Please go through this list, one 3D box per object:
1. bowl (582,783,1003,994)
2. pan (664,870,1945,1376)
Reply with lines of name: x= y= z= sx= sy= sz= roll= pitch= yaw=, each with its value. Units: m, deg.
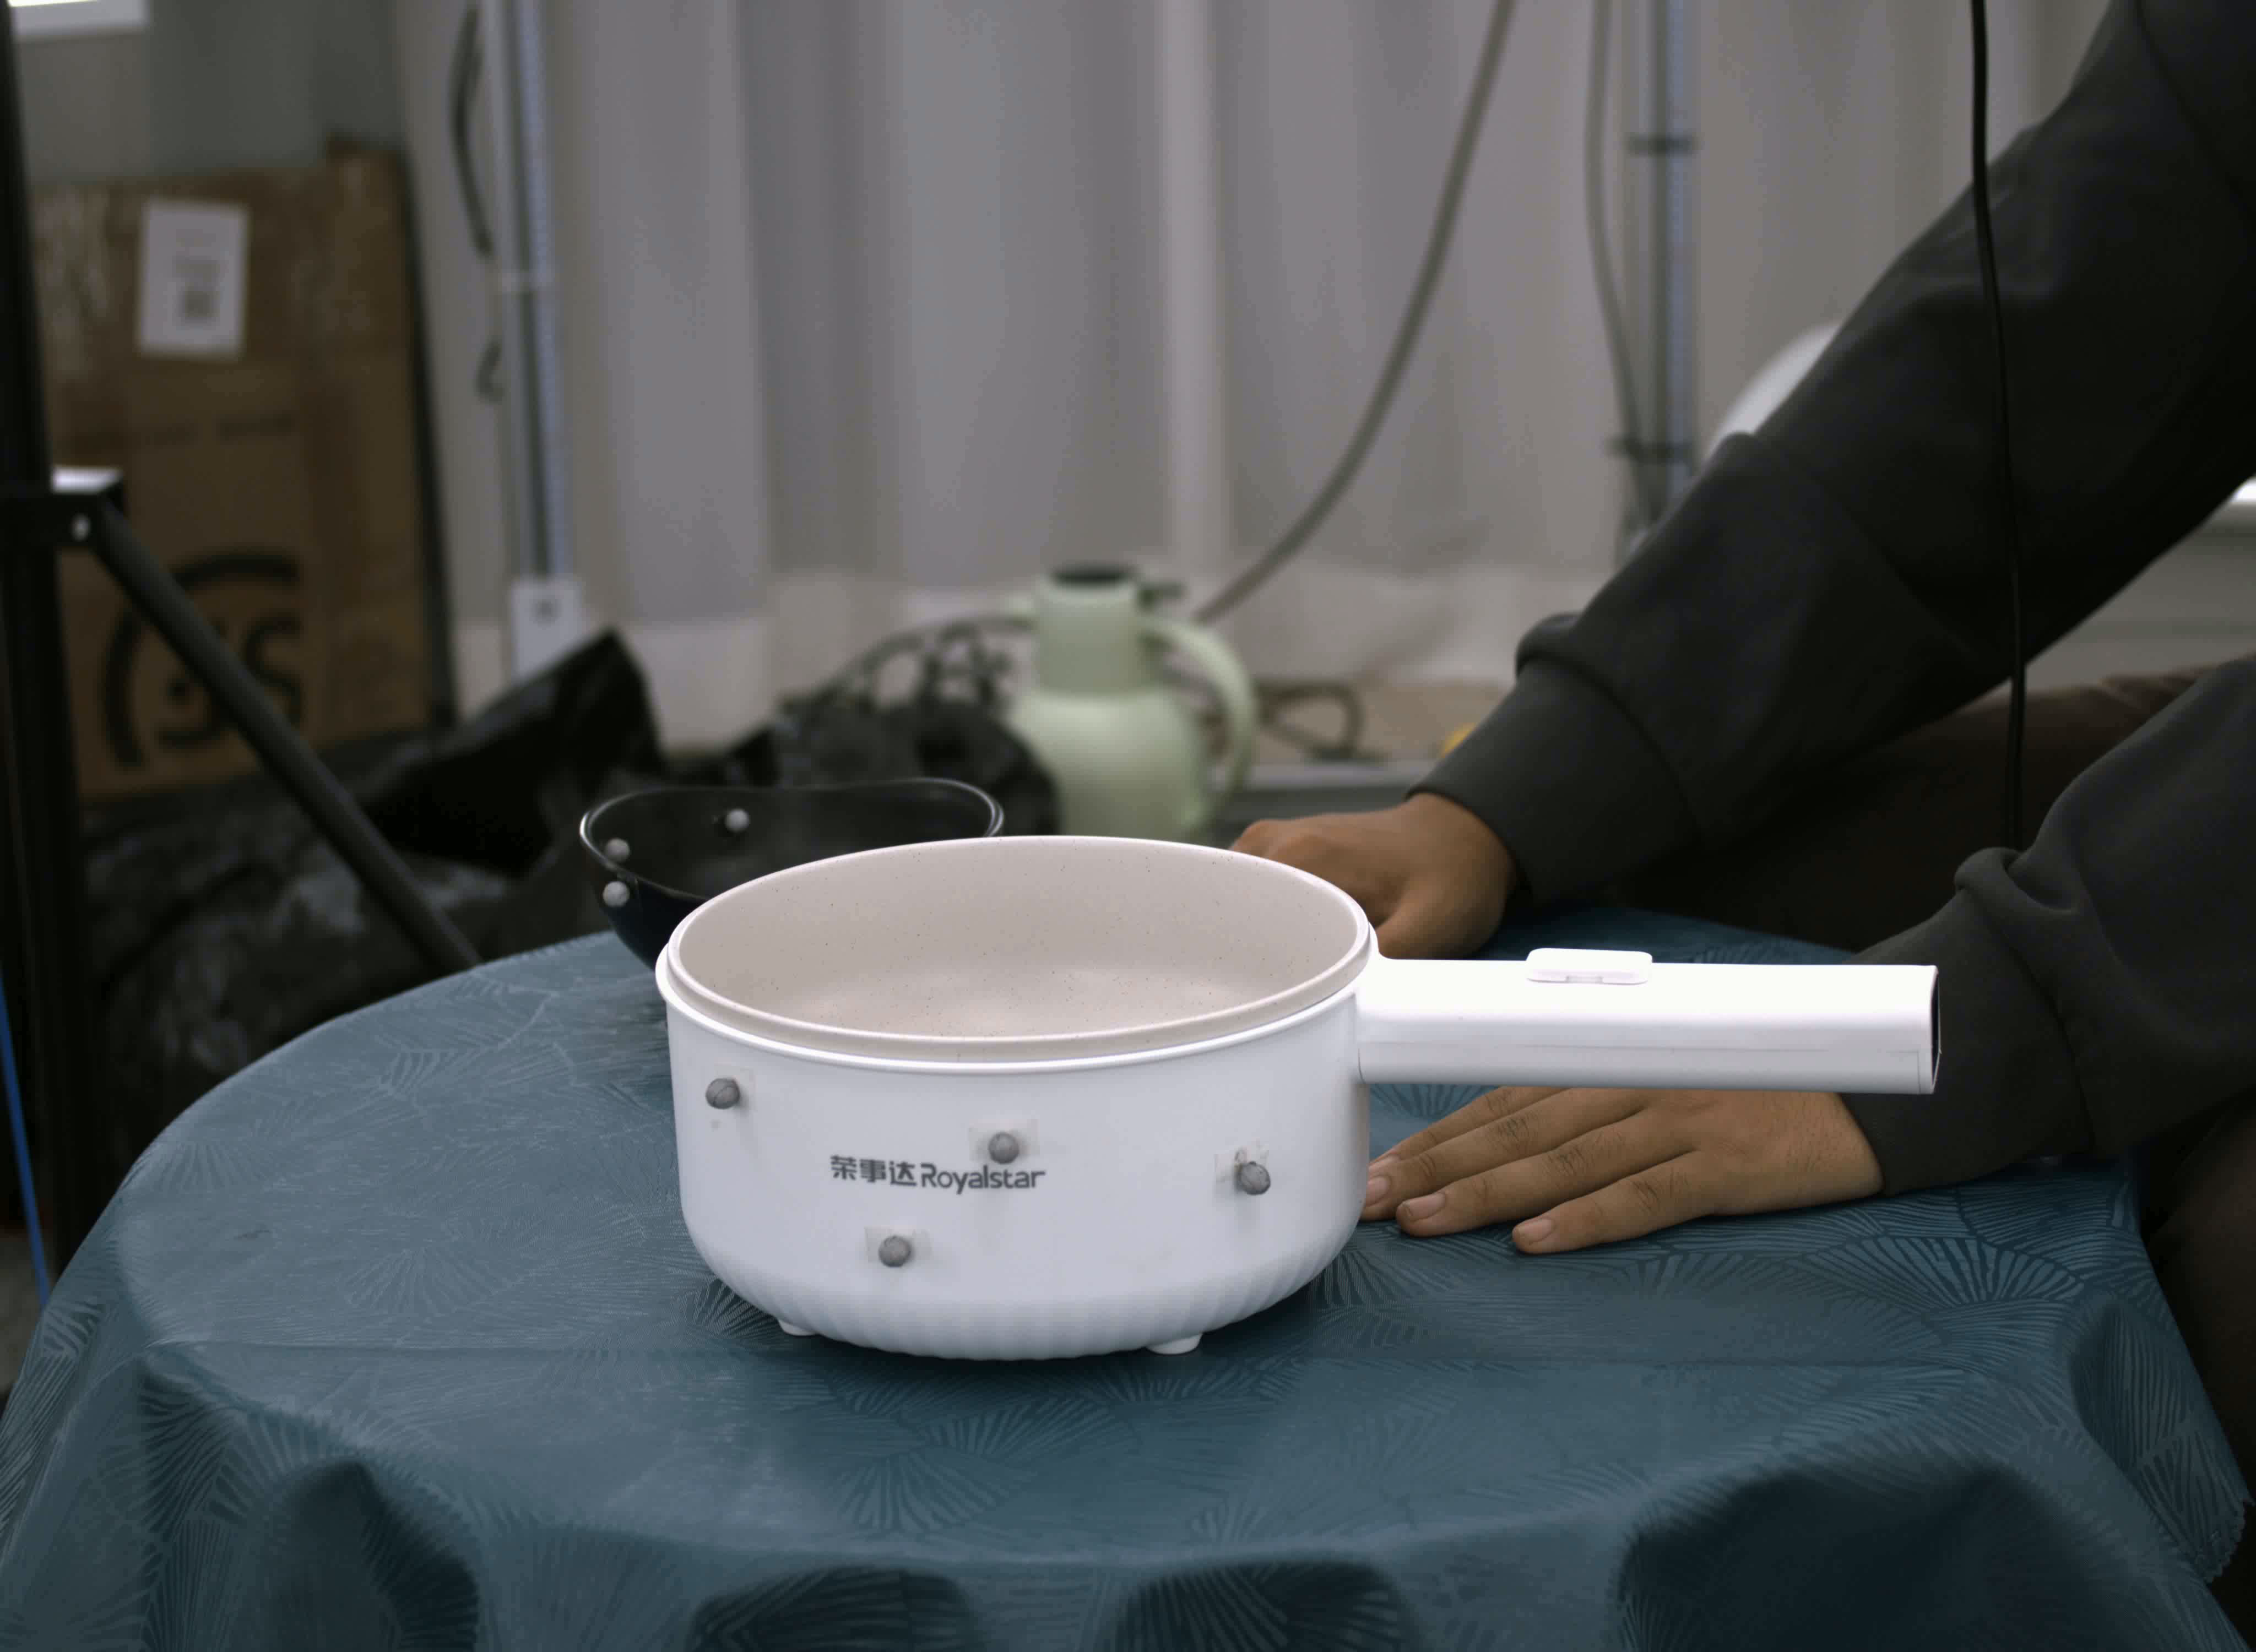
bowl: x=-0.108 y=0.027 z=1.739 sx=0.136 sy=0.067 sz=0.171 roll=-3 pitch=14 yaw=-2
pan: x=0.046 y=0.088 z=1.467 sx=0.357 sy=0.102 sz=0.200 roll=3 pitch=13 yaw=13
